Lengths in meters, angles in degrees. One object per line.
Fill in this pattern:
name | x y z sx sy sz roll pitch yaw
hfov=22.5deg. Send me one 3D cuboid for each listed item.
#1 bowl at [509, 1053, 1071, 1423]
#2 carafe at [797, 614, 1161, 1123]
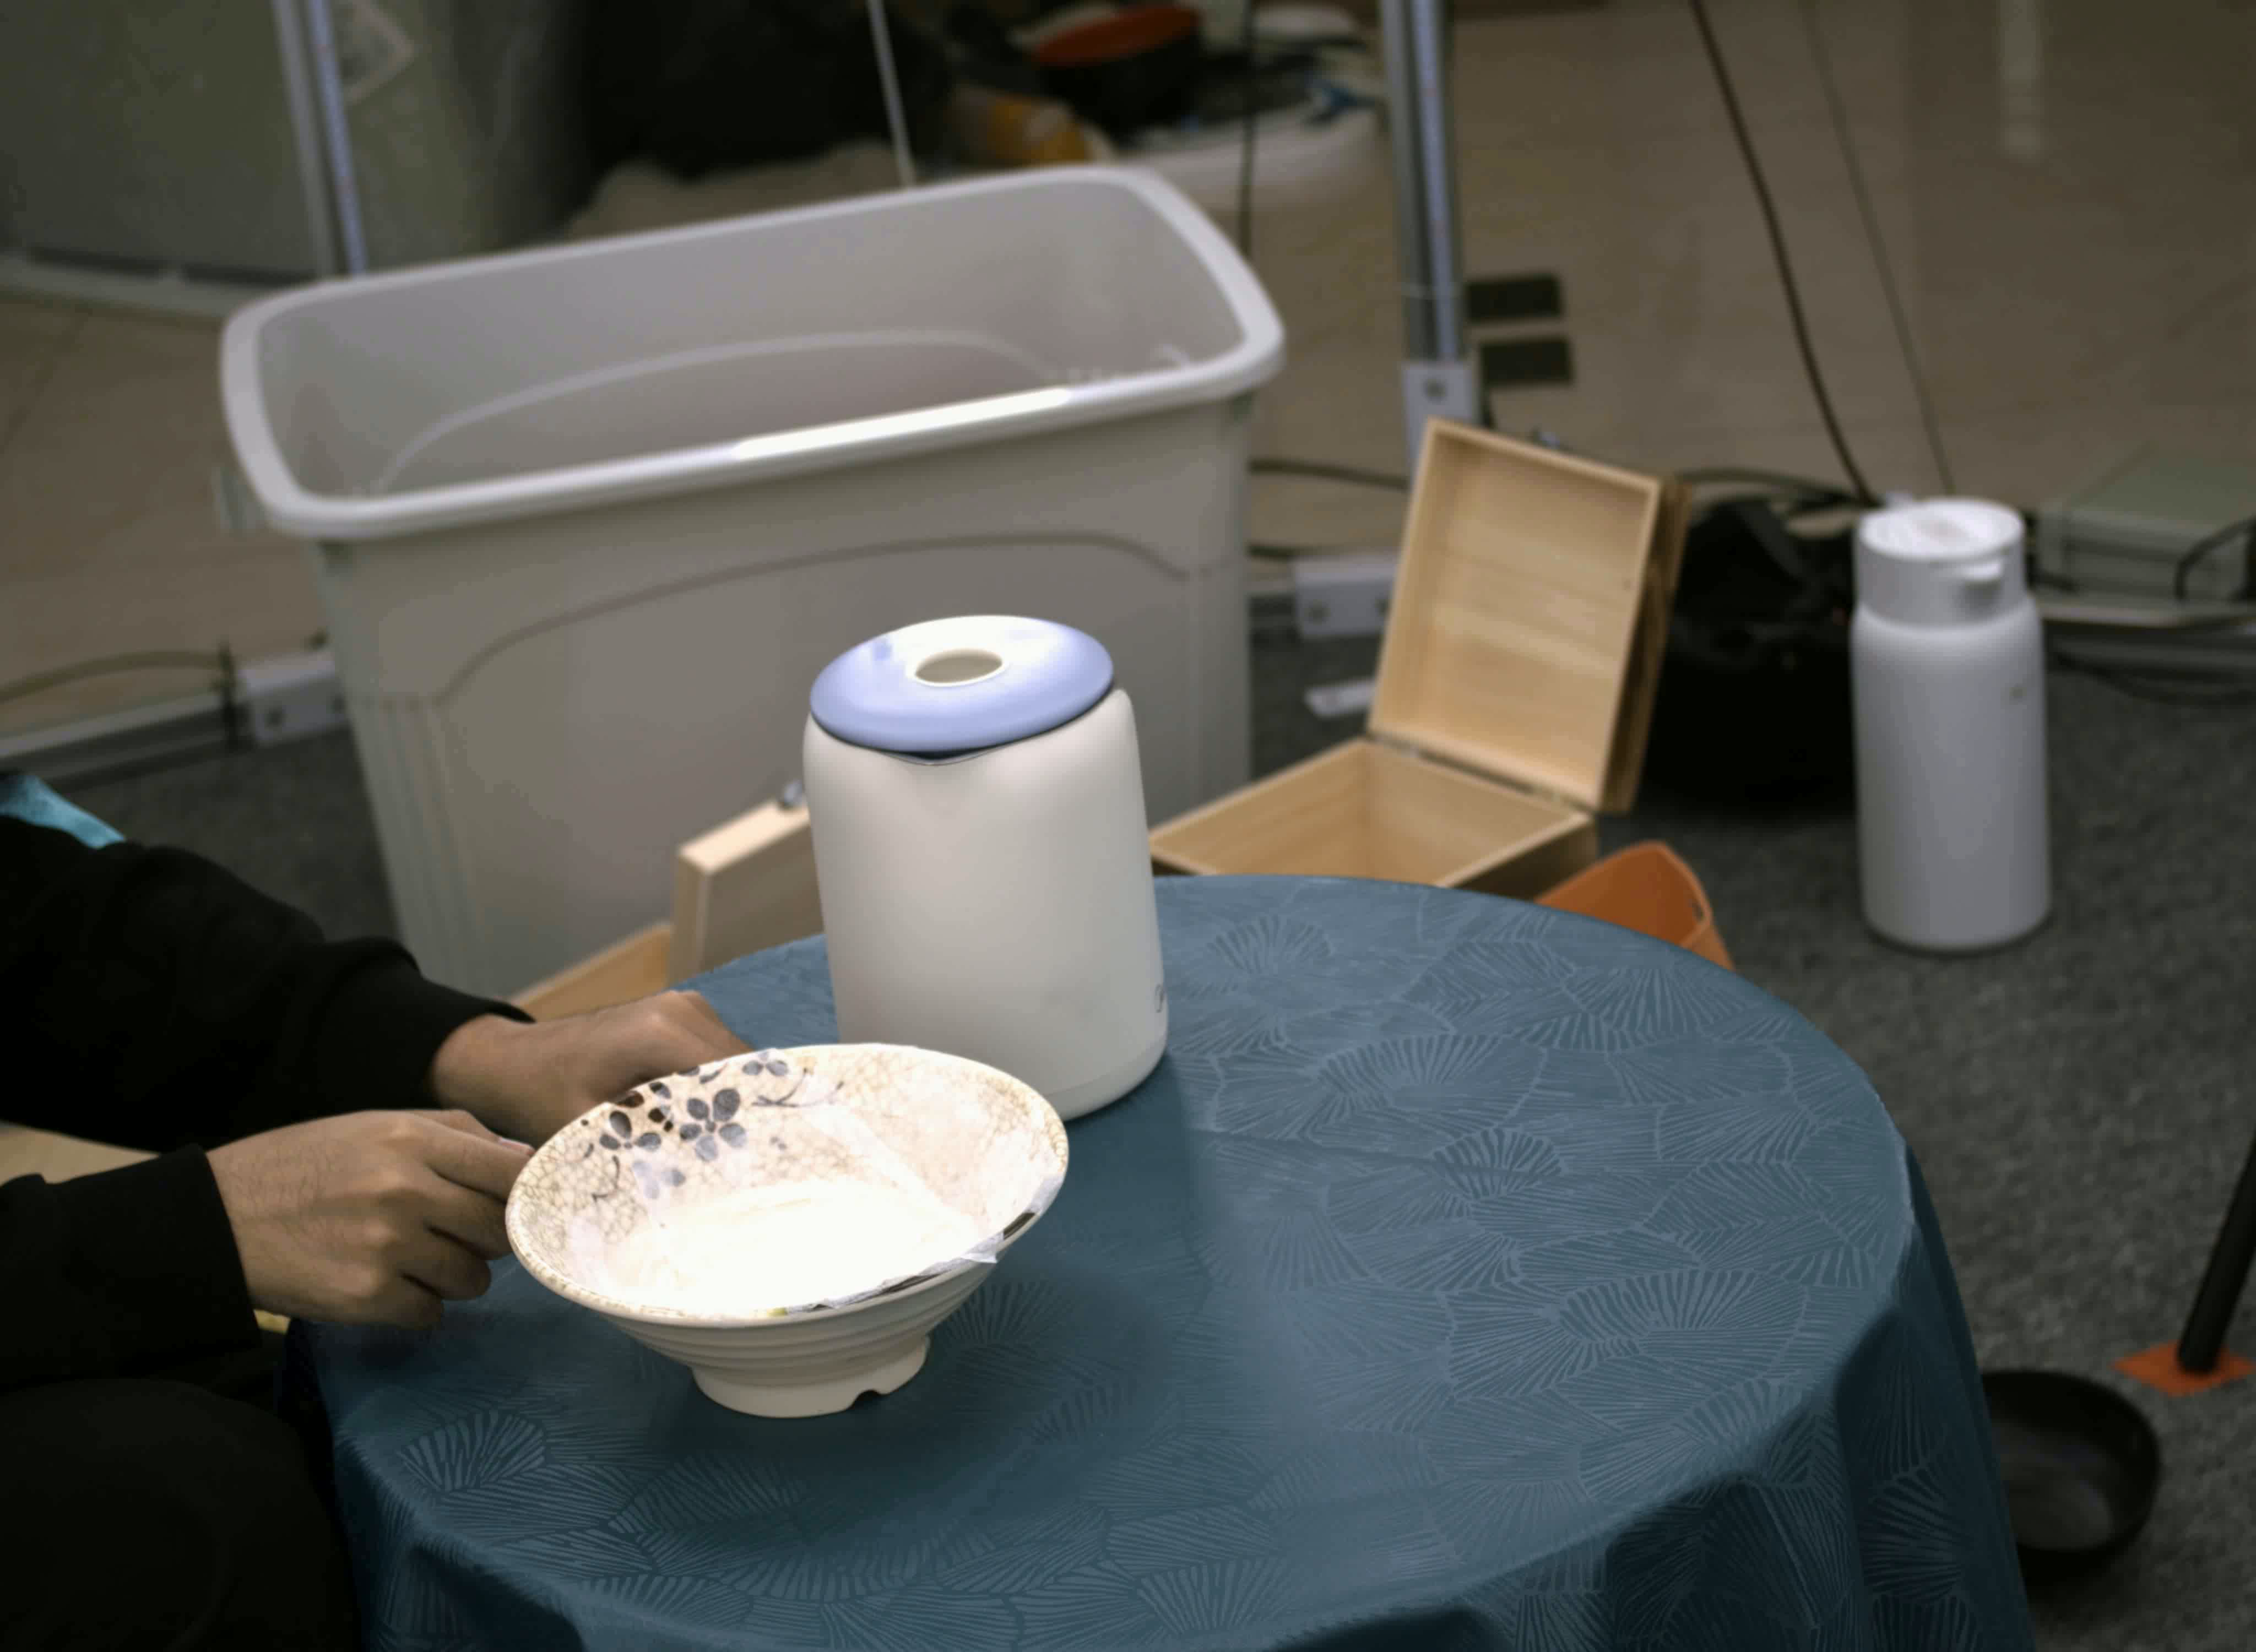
bowl | -0.116 0.160 2.039 0.204 0.079 0.201 -8 24 3
carafe | -0.056 0.009 2.232 0.132 0.185 0.188 -2 24 6
